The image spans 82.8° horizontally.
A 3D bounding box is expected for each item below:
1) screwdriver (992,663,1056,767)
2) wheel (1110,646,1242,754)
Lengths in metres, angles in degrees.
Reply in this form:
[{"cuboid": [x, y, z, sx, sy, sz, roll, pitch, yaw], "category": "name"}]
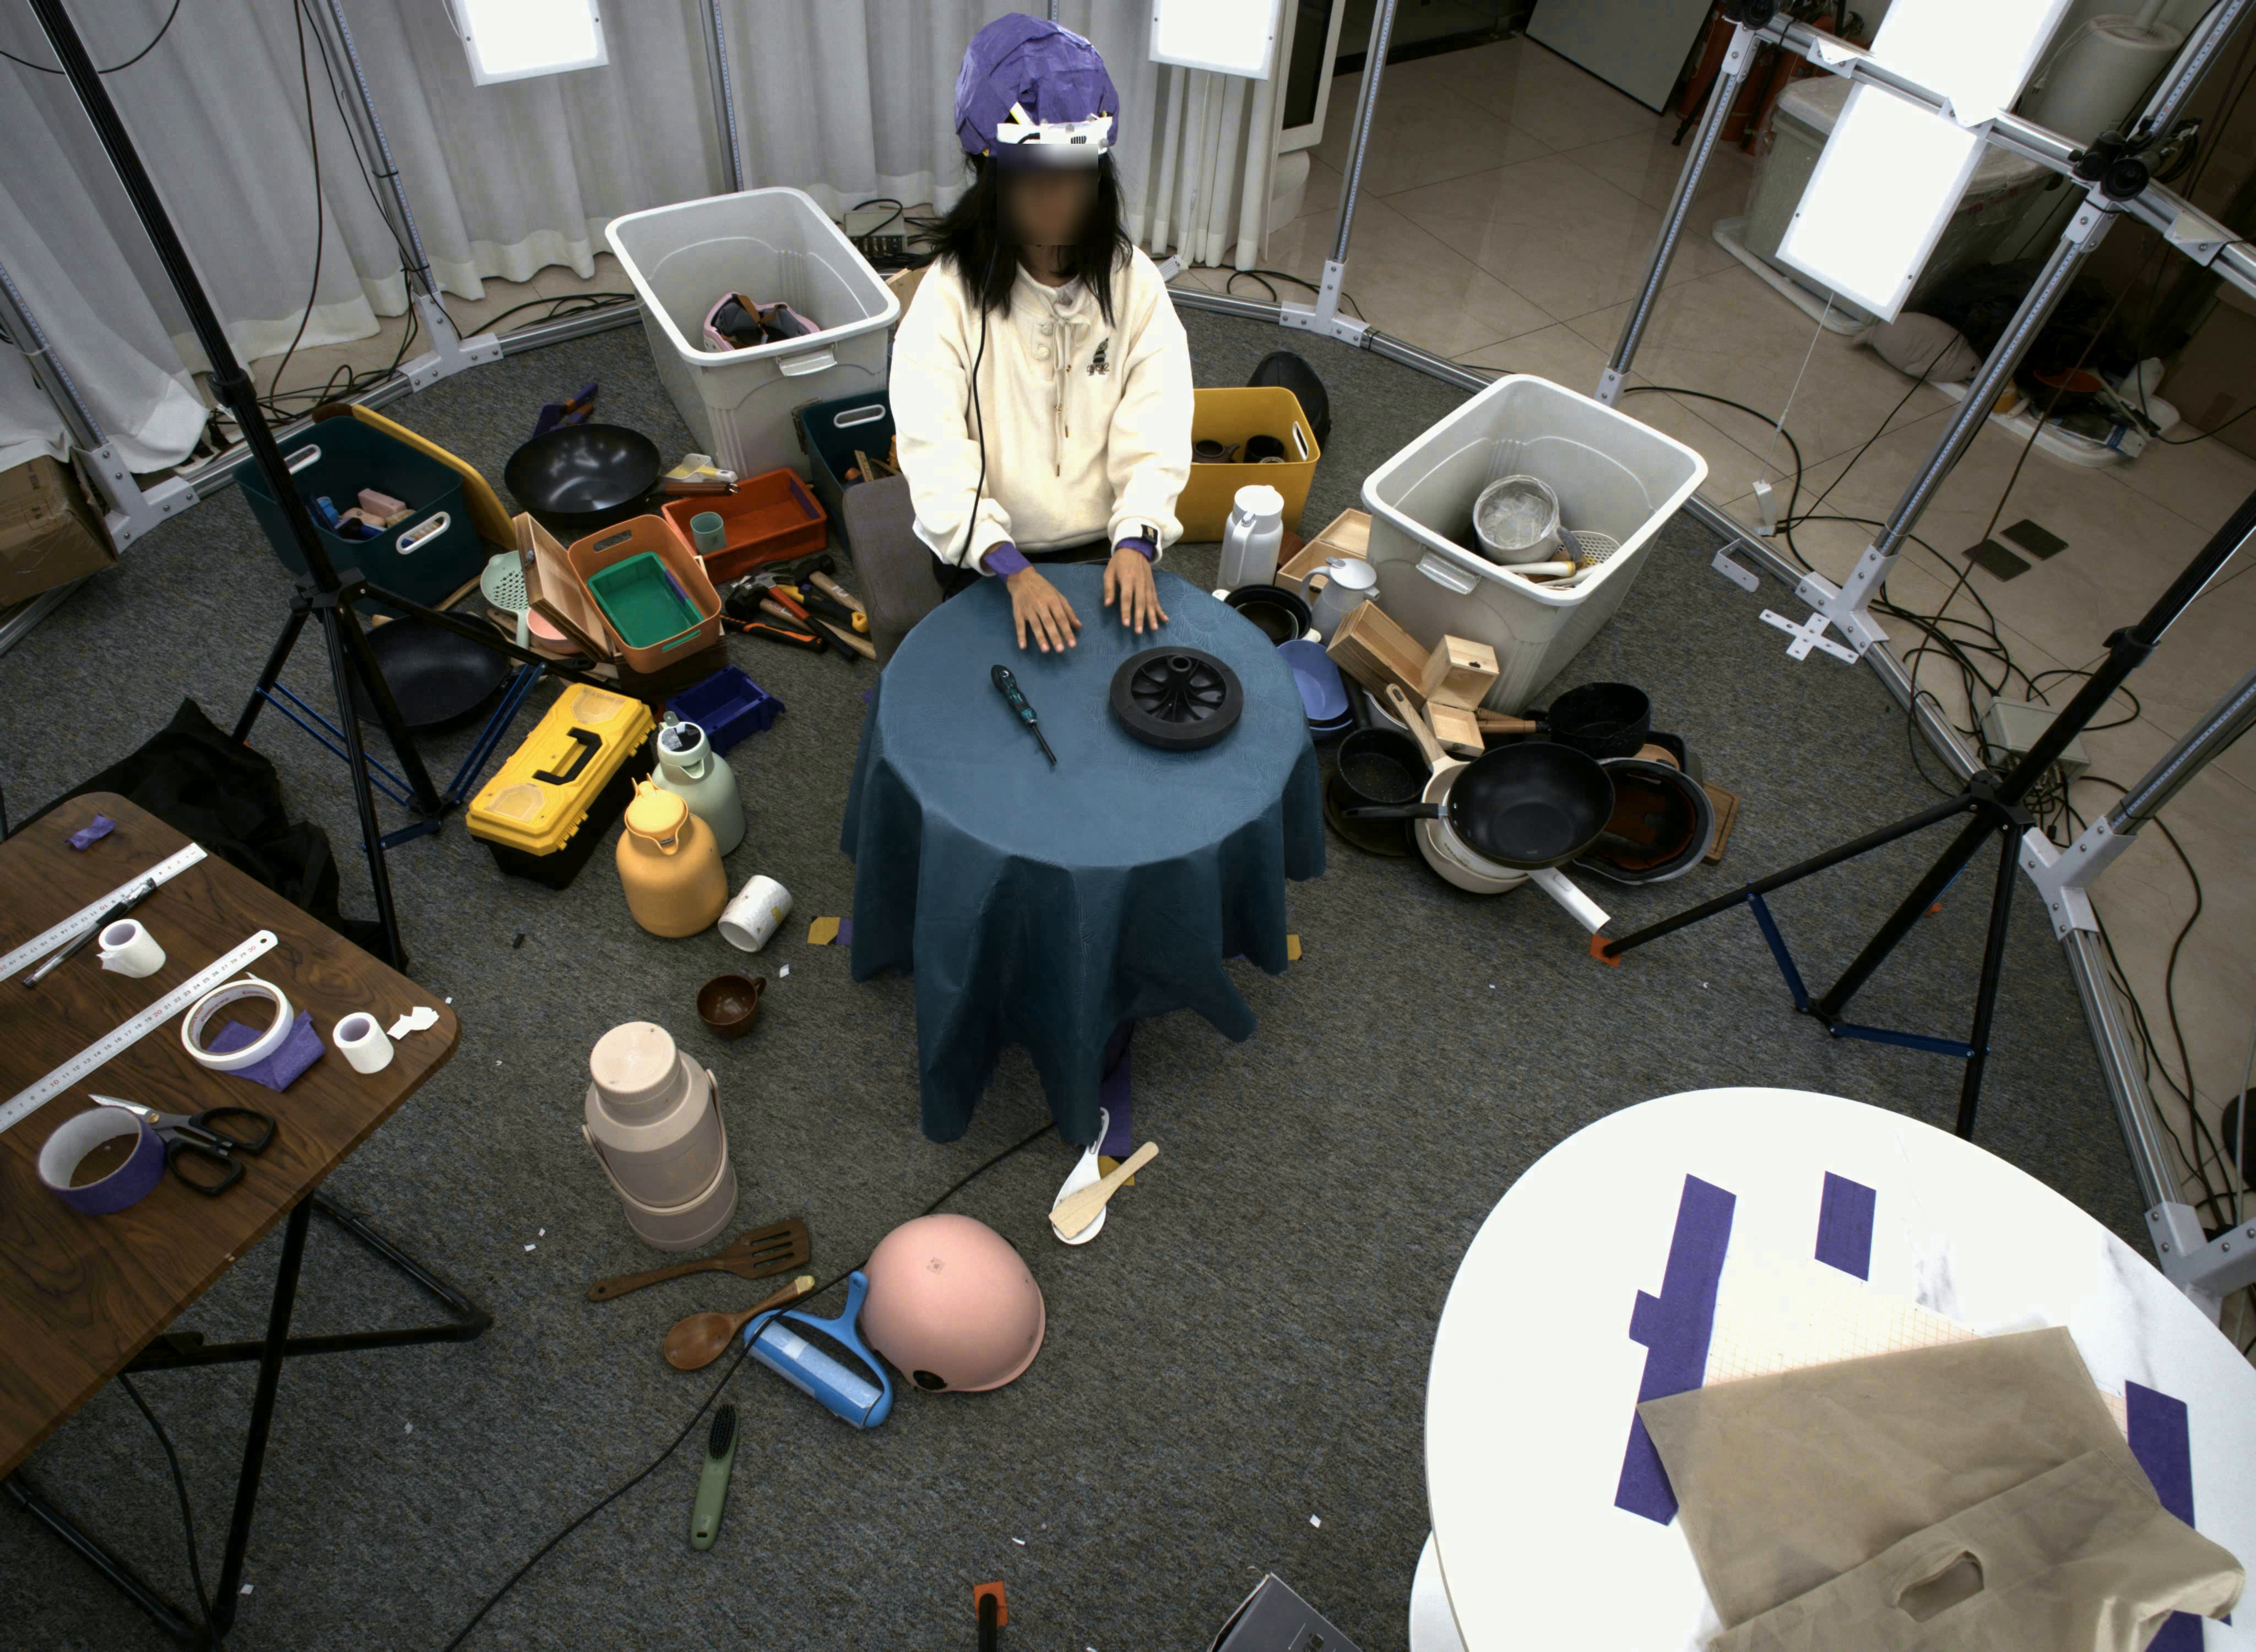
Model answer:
[{"cuboid": [-0.142, -0.152, 1.779, 0.034, 0.033, 0.194, -19, 58, -20], "category": "screwdriver"}, {"cuboid": [0.068, -0.193, 1.794, 0.187, 0.077, 0.194, 6, 53, 2], "category": "wheel"}]
